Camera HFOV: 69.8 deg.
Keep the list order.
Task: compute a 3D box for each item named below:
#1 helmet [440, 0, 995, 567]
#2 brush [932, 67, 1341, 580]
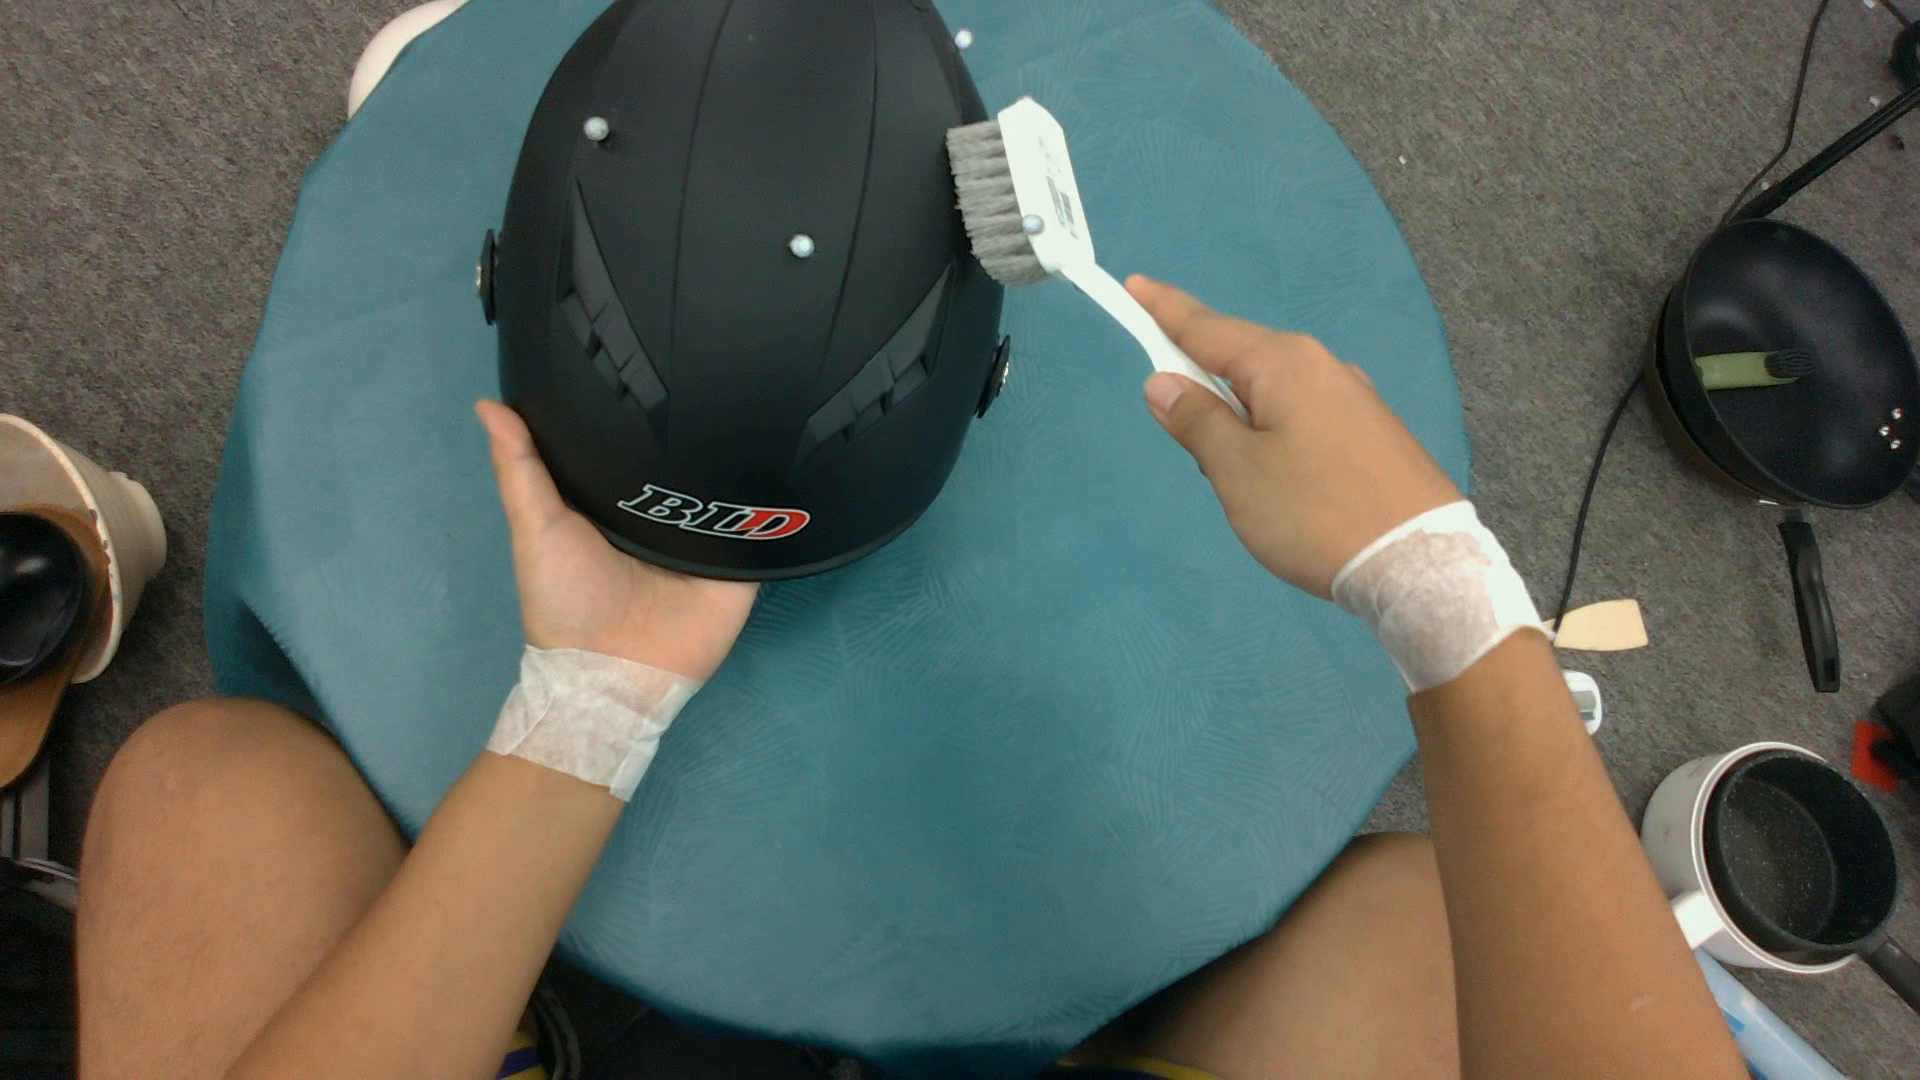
[{"bbox_3d":[-0.092,-0.140,0.581,0.247,0.171,0.278,10,57,-10],"label":"helmet"},{"bbox_3d":[0.056,-0.078,0.506,0.050,0.034,0.244,-37,68,23],"label":"brush"}]
